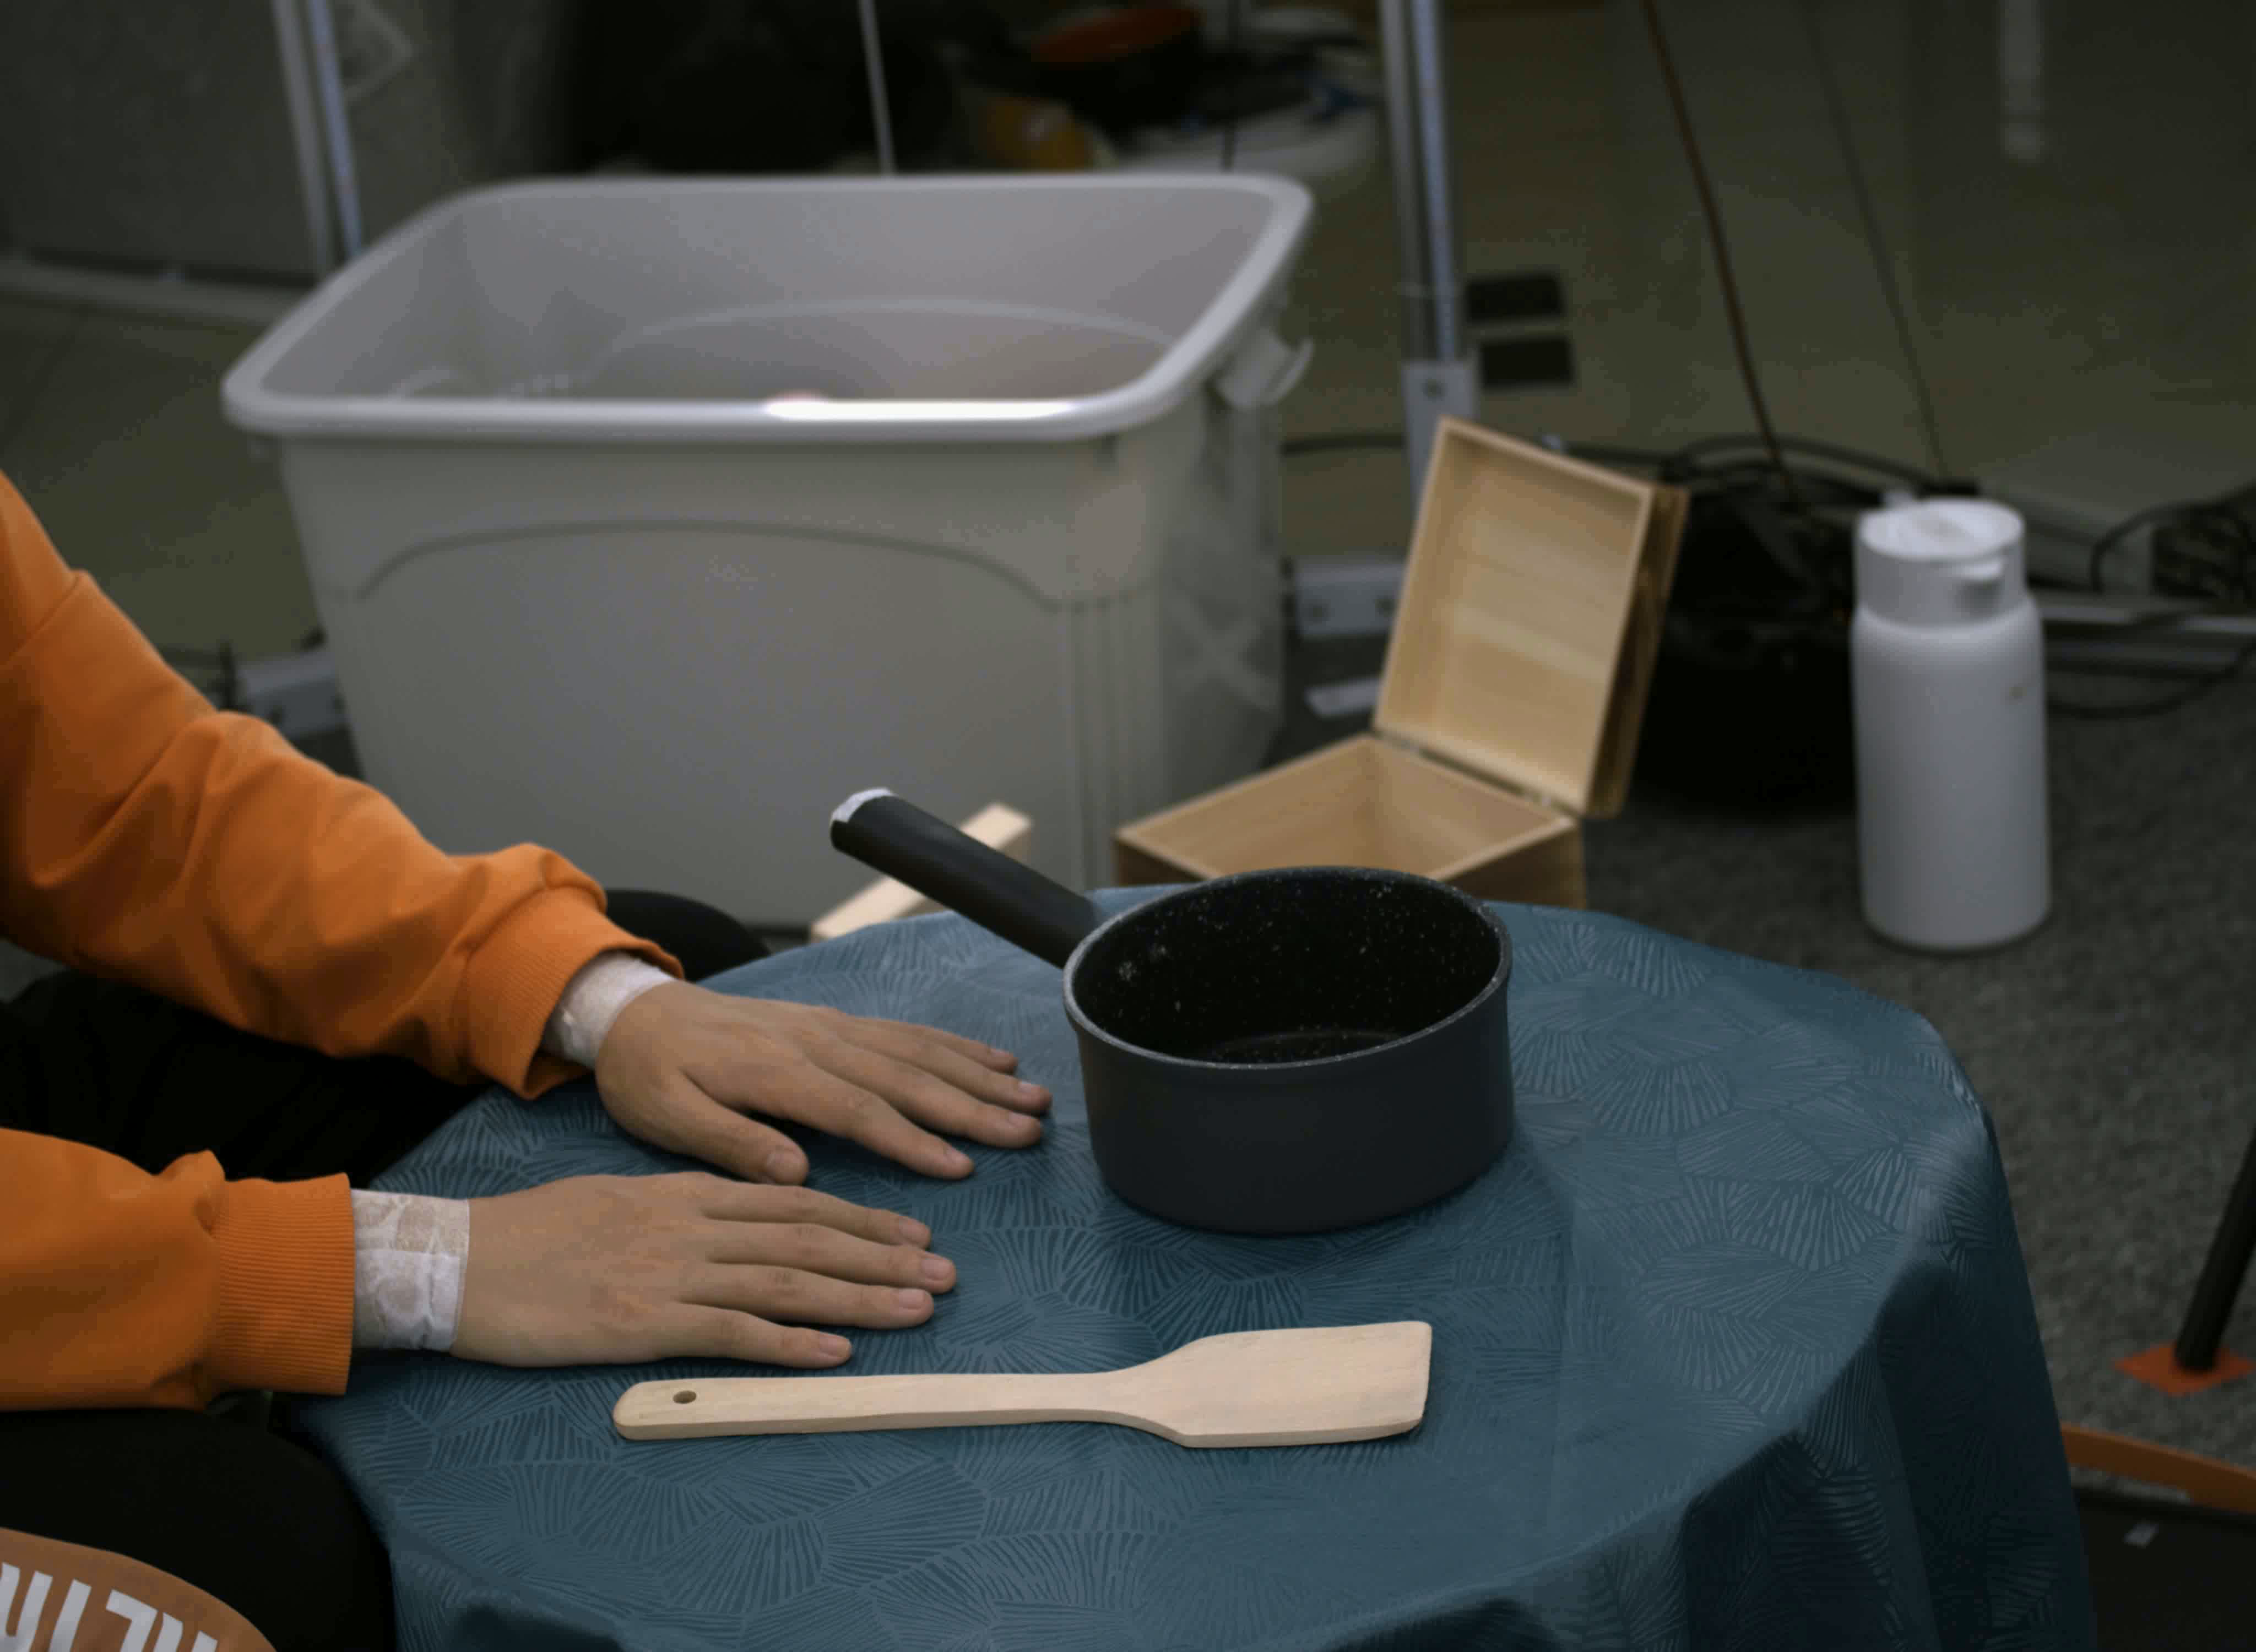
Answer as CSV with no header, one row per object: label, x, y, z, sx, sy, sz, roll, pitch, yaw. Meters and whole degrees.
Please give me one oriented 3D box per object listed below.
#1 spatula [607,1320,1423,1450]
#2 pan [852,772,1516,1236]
spatula,-0.042,0.202,2.011,0.292,0.011,0.071,-3,29,8
pan,0.009,0.063,2.207,0.170,0.088,0.326,-25,32,-36
